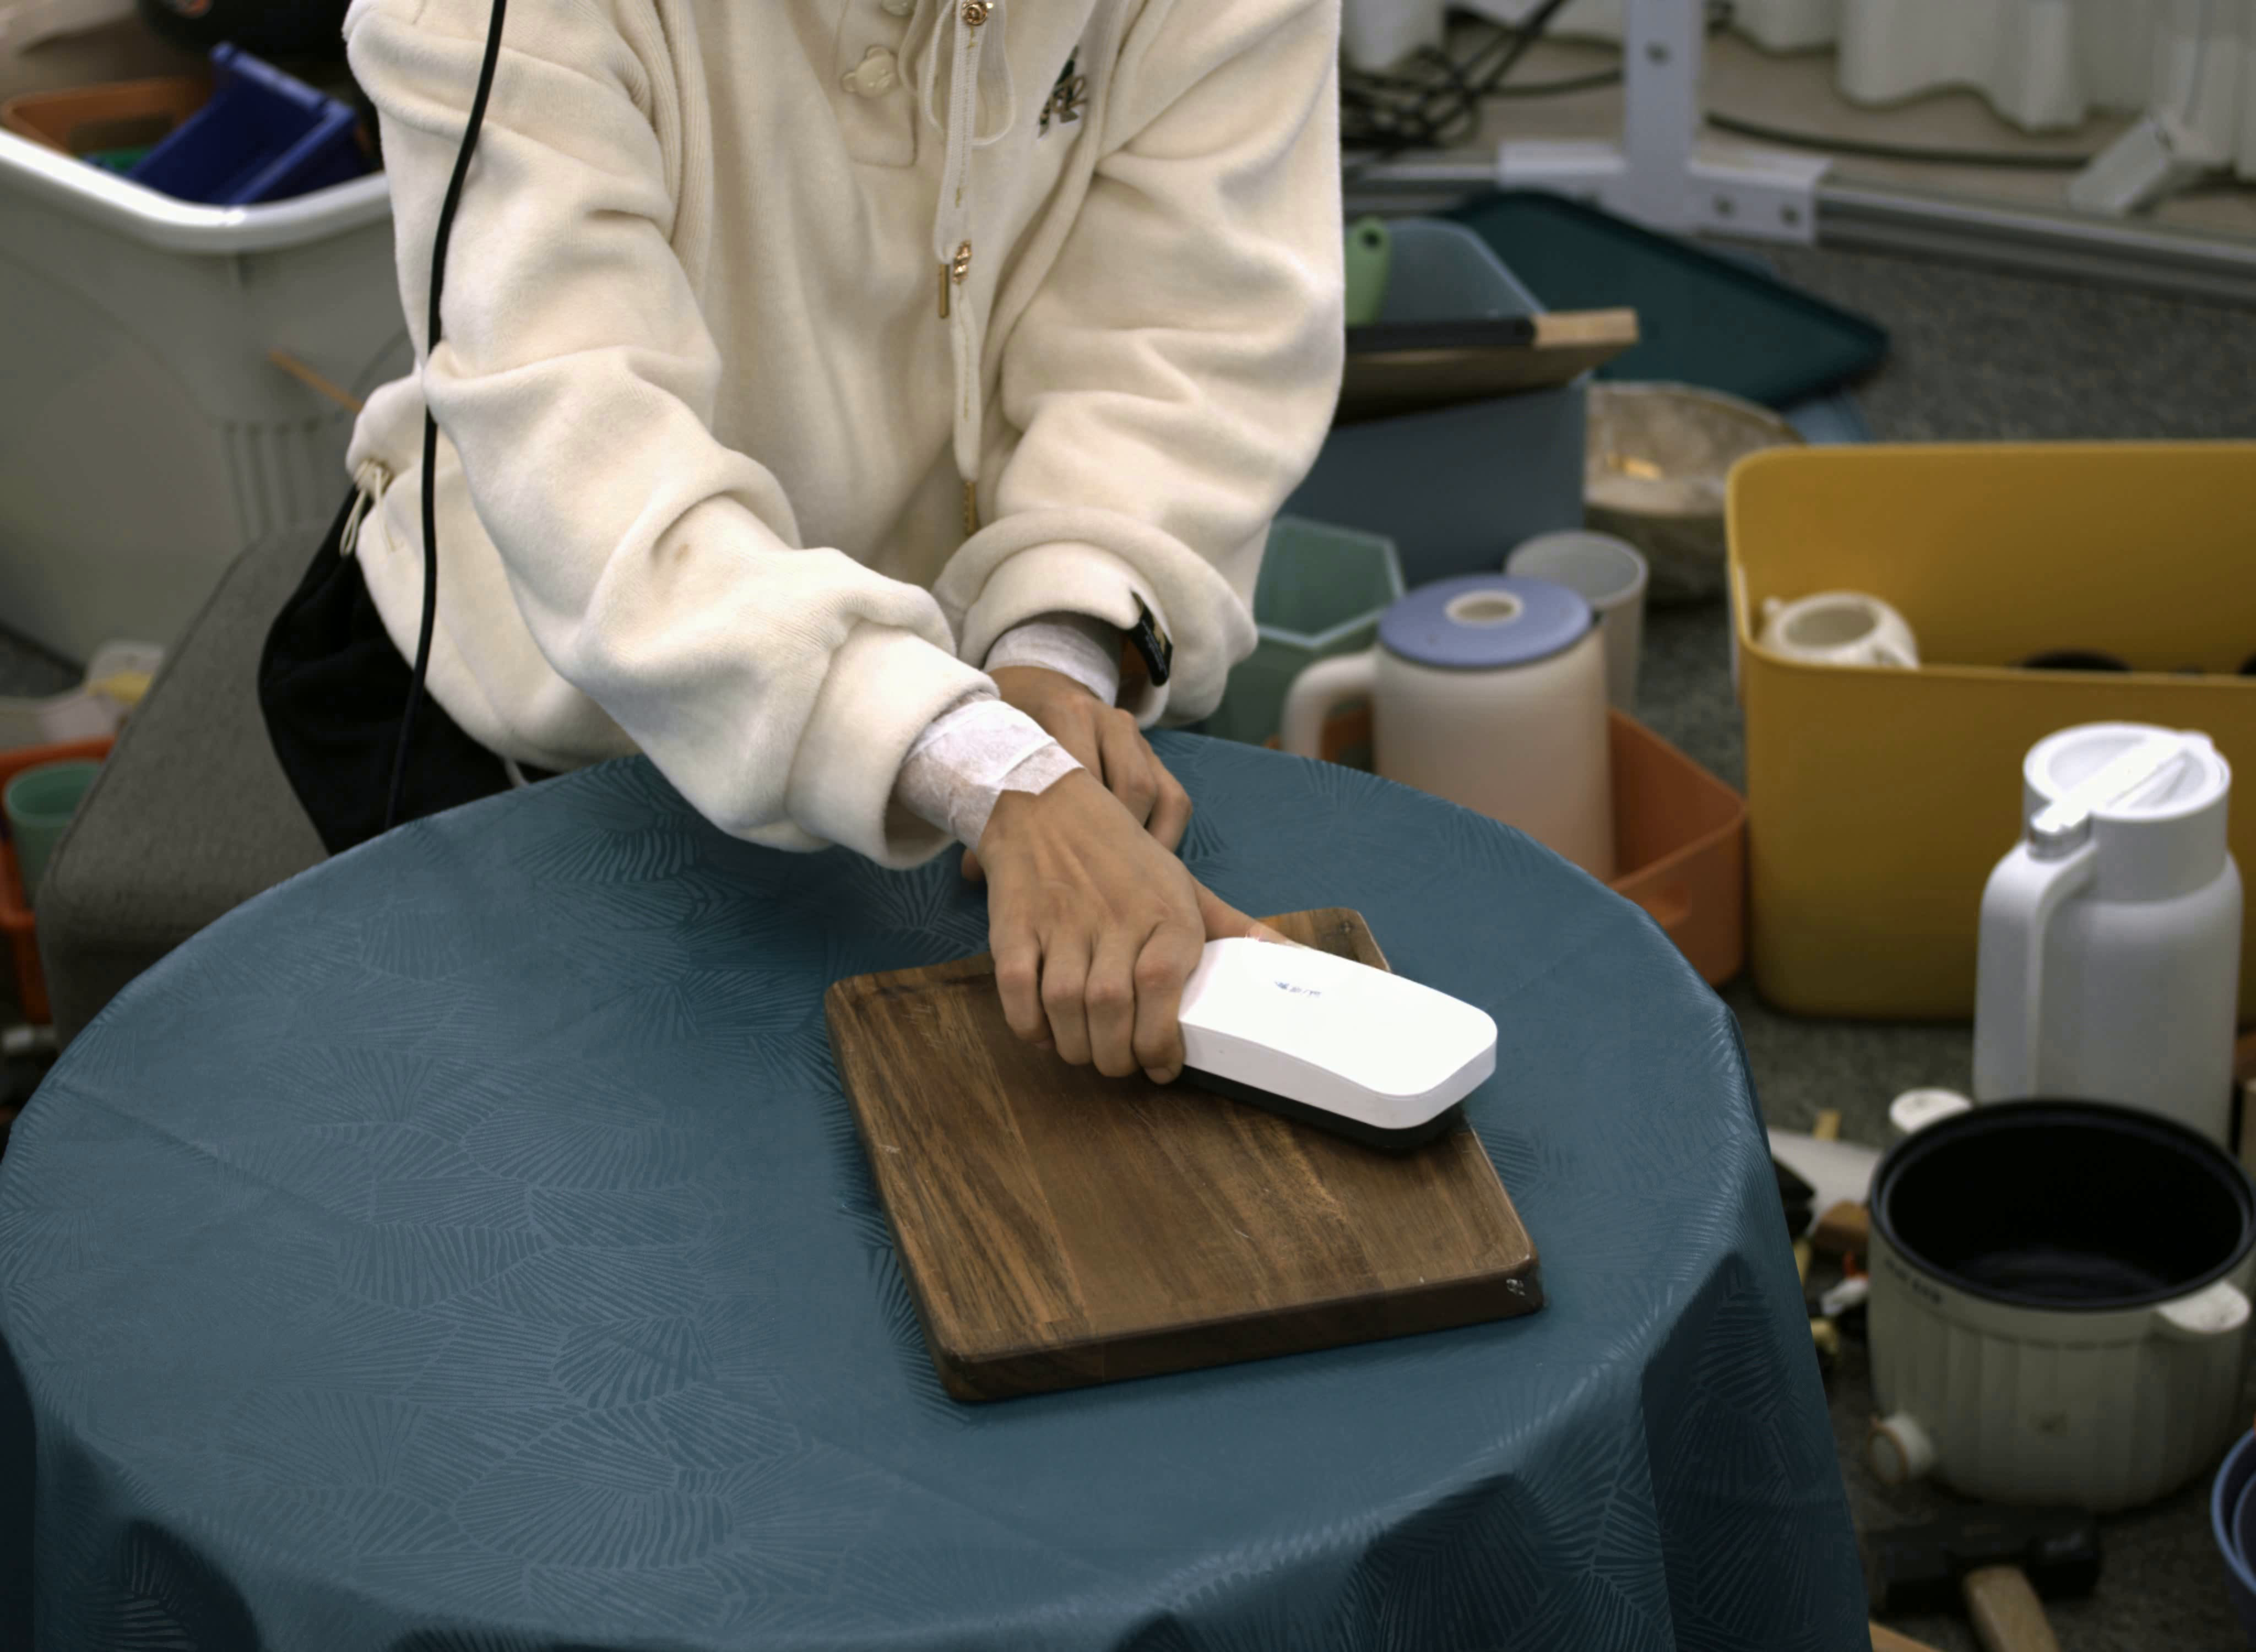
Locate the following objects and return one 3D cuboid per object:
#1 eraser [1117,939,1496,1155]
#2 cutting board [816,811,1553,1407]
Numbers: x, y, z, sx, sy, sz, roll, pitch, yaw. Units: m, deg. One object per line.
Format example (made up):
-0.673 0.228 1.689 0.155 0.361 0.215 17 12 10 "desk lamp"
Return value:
0.060 0.070 1.884 0.131 0.034 0.064 18 34 38 "eraser"
0.003 0.082 1.914 0.201 0.023 0.356 -8 28 -10 "cutting board"
